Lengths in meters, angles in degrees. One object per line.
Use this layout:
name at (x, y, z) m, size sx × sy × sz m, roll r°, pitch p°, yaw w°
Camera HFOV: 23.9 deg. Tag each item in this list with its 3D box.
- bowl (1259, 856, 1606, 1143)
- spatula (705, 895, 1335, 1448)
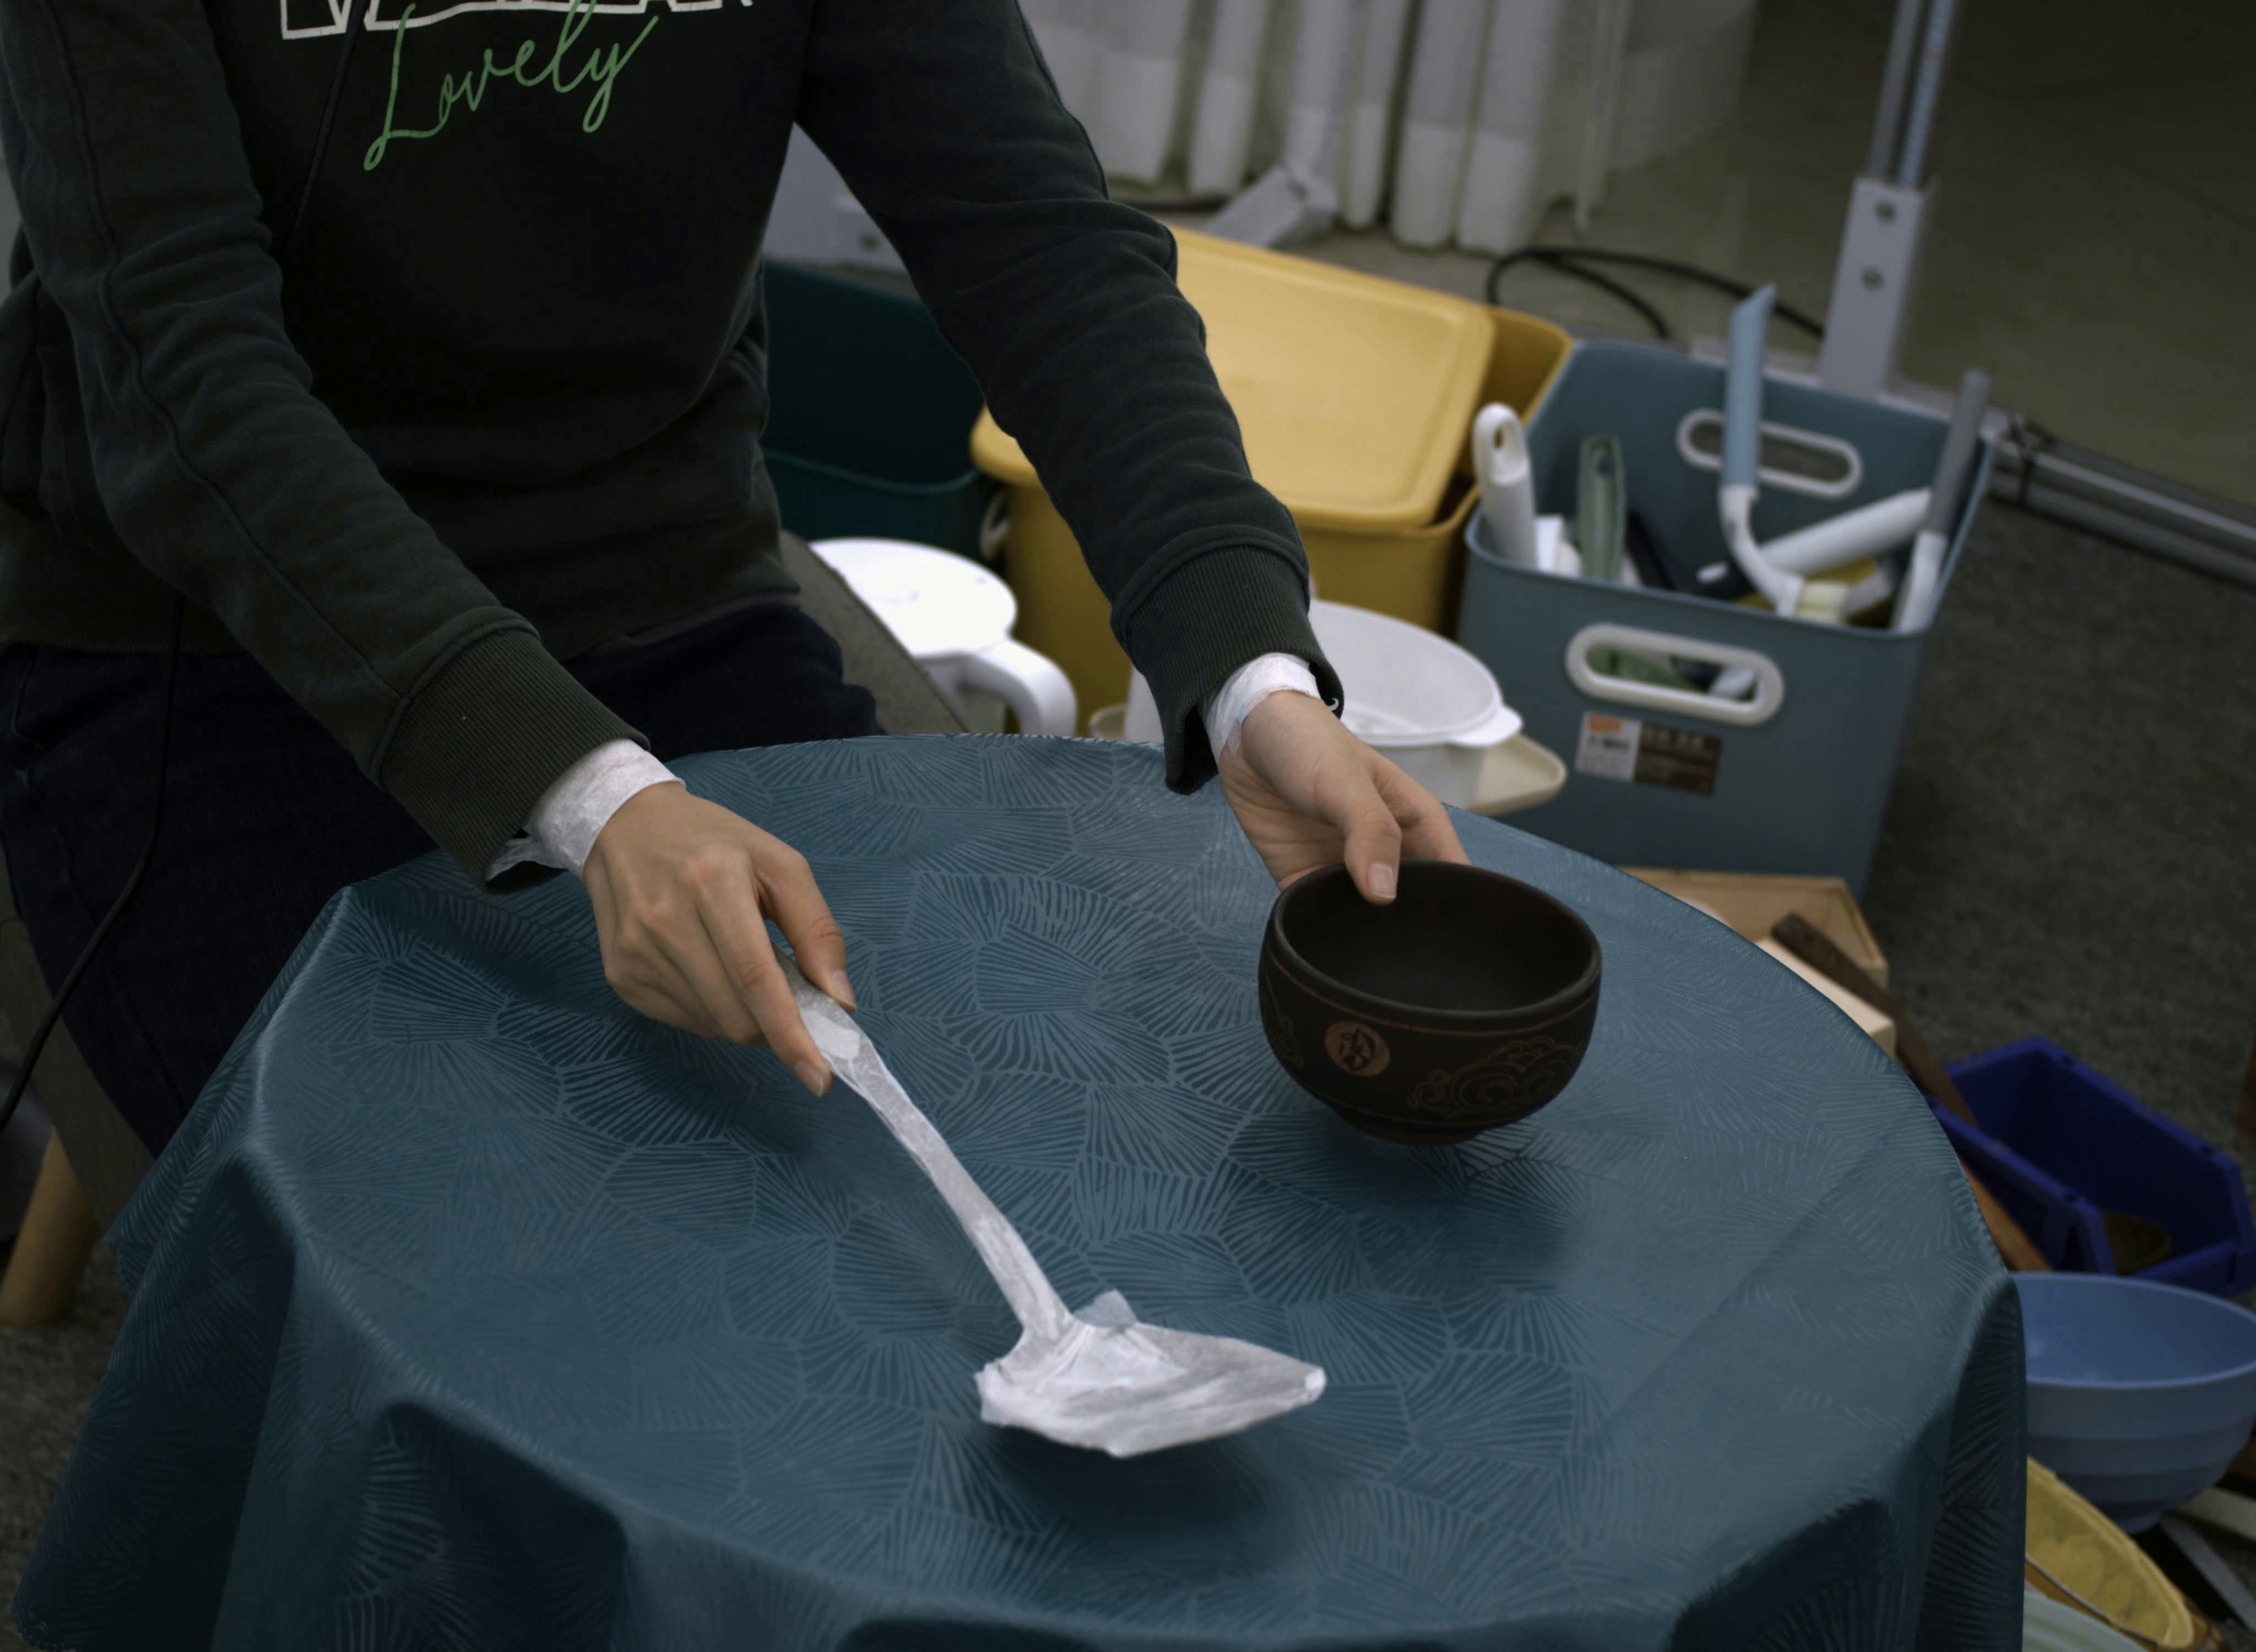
bowl at (0.102, 0.066, 1.832) m, size 0.117 × 0.069 × 0.118 m, roll 6°, pitch 24°, yaw -3°
spatula at (-0.059, 0.103, 1.740) m, size 0.098 × 0.044 × 0.368 m, roll -12°, pitch 37°, yaw -27°
